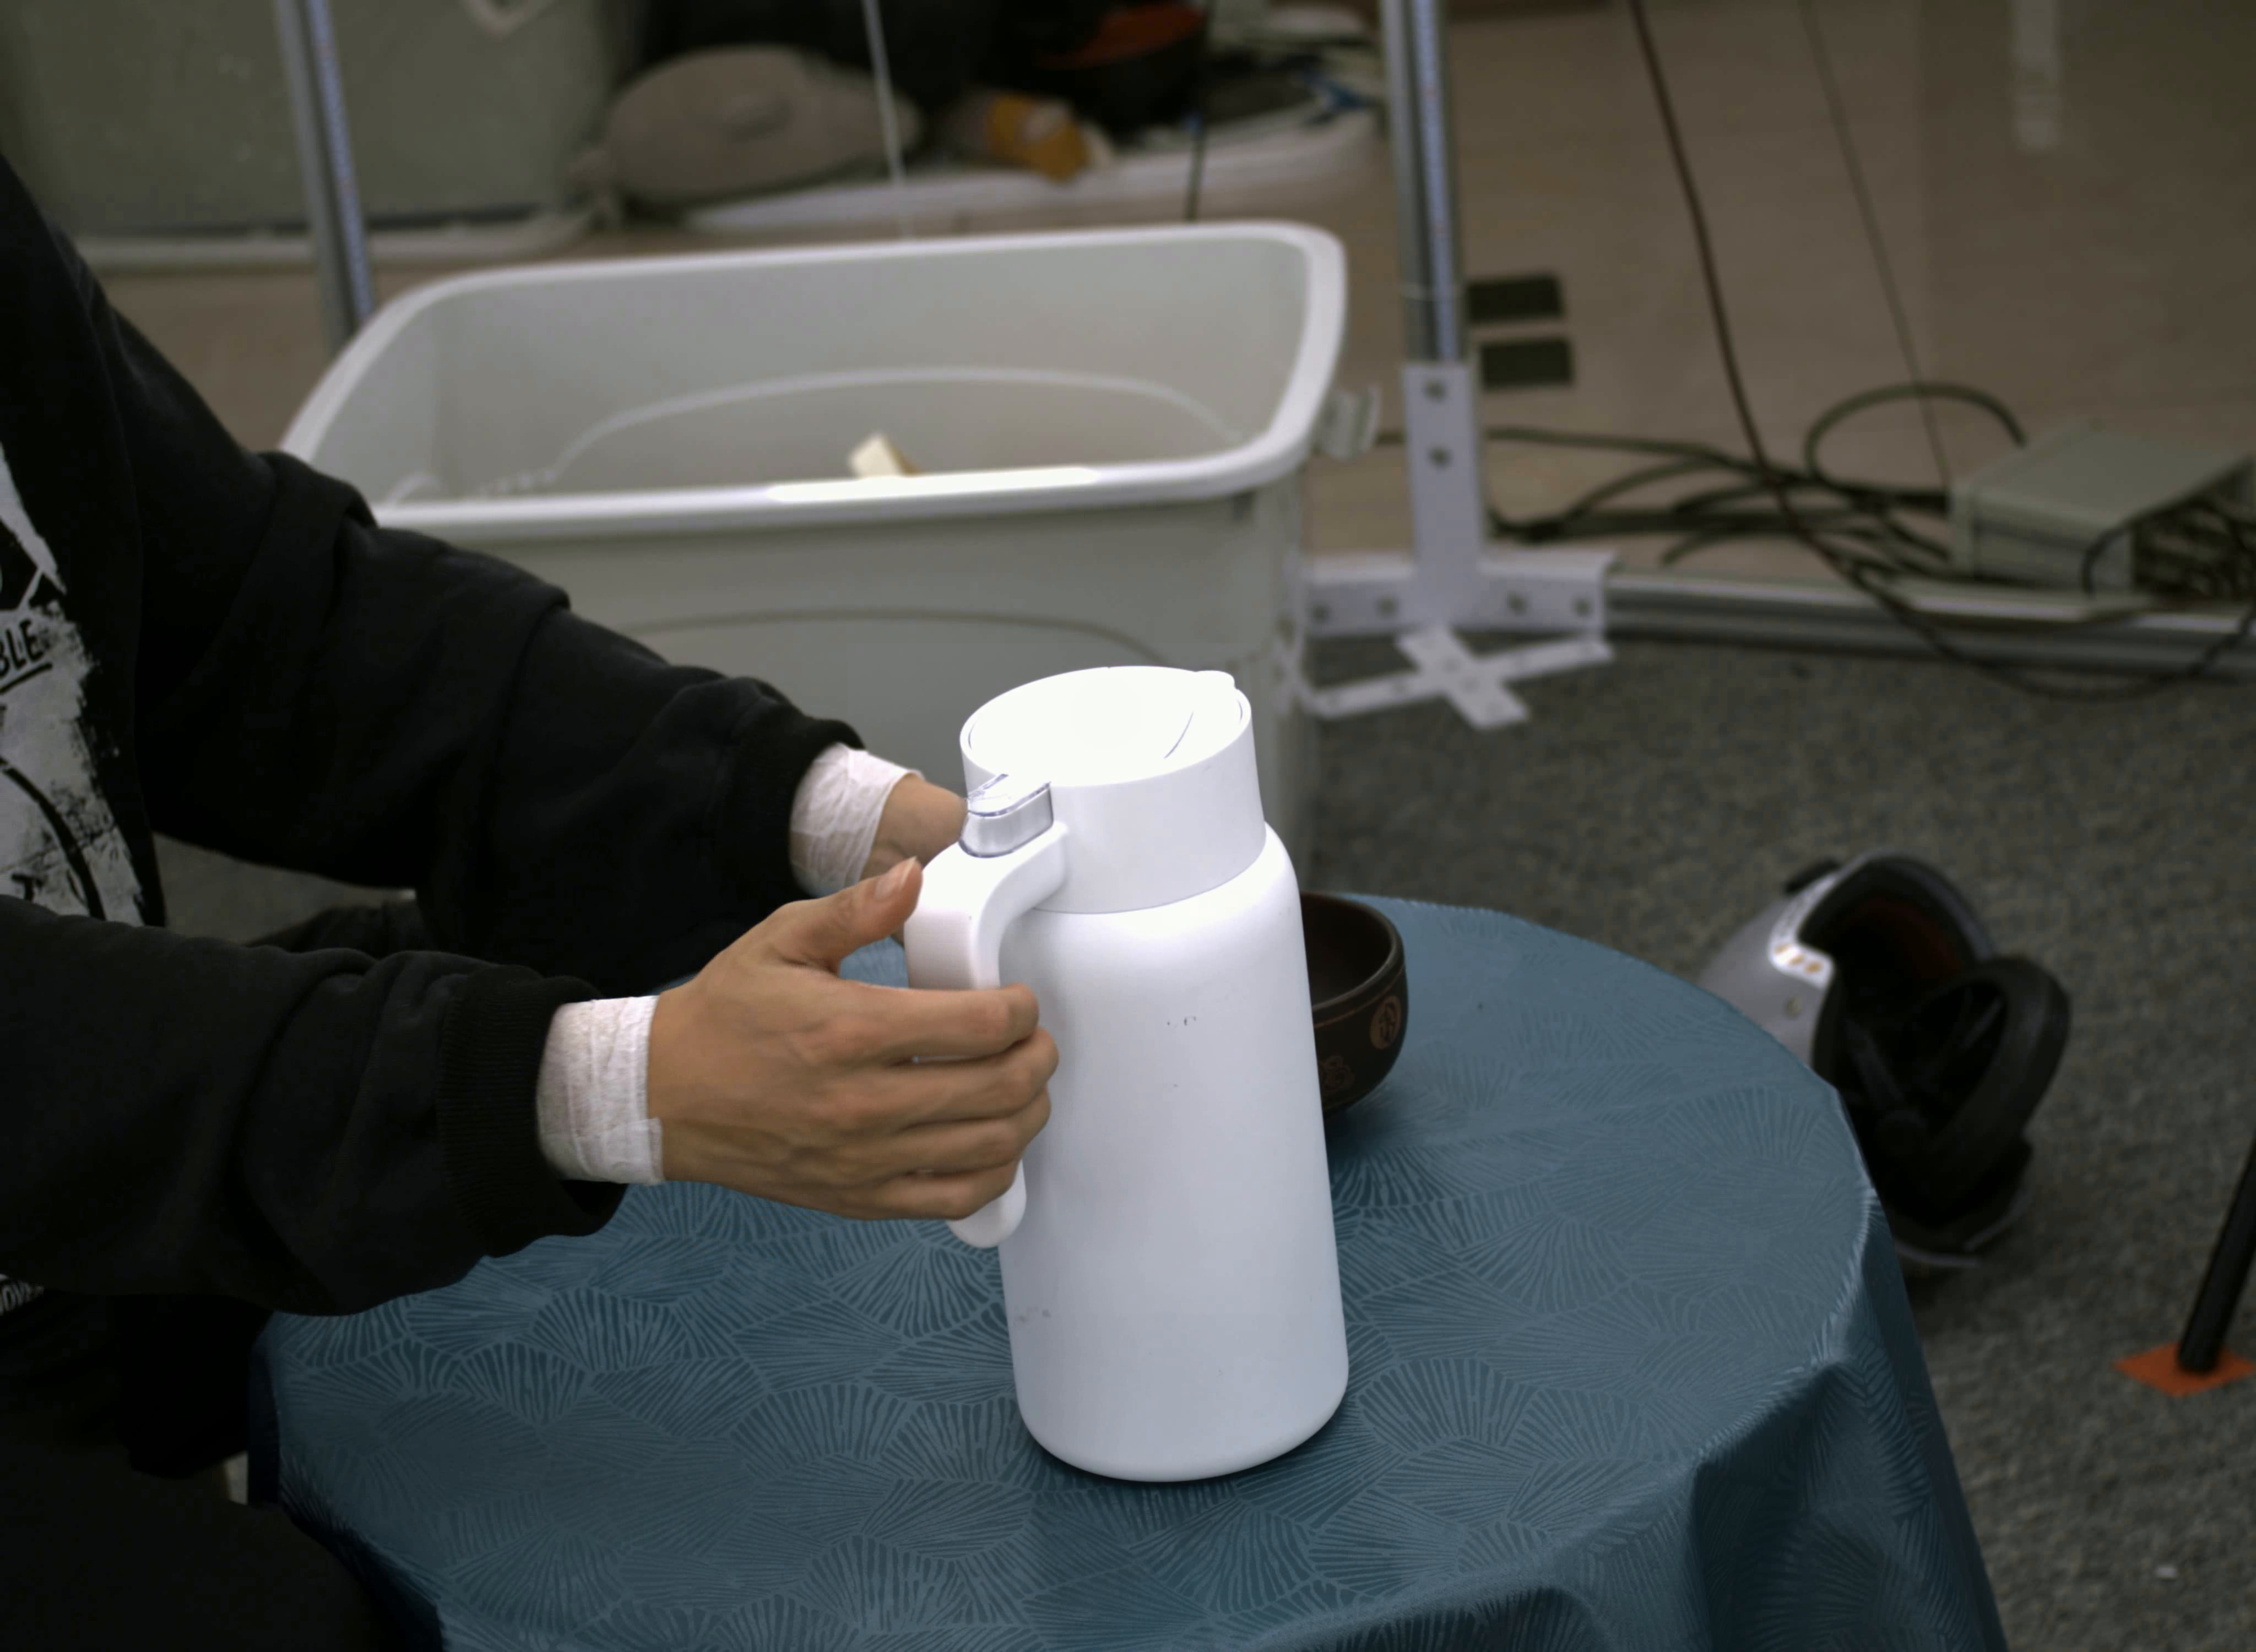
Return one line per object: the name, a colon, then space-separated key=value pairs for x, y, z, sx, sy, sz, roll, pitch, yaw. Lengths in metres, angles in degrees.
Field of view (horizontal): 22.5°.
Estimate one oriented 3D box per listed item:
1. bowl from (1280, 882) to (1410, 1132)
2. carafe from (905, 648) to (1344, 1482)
bowl: x=0.051 y=0.077 z=2.181 sx=0.118 sy=0.071 sz=0.116 roll=-6 pitch=26 yaw=3
carafe: x=-0.003 y=0.092 z=1.931 sx=0.123 sy=0.273 sz=0.171 roll=14 pitch=32 yaw=31
